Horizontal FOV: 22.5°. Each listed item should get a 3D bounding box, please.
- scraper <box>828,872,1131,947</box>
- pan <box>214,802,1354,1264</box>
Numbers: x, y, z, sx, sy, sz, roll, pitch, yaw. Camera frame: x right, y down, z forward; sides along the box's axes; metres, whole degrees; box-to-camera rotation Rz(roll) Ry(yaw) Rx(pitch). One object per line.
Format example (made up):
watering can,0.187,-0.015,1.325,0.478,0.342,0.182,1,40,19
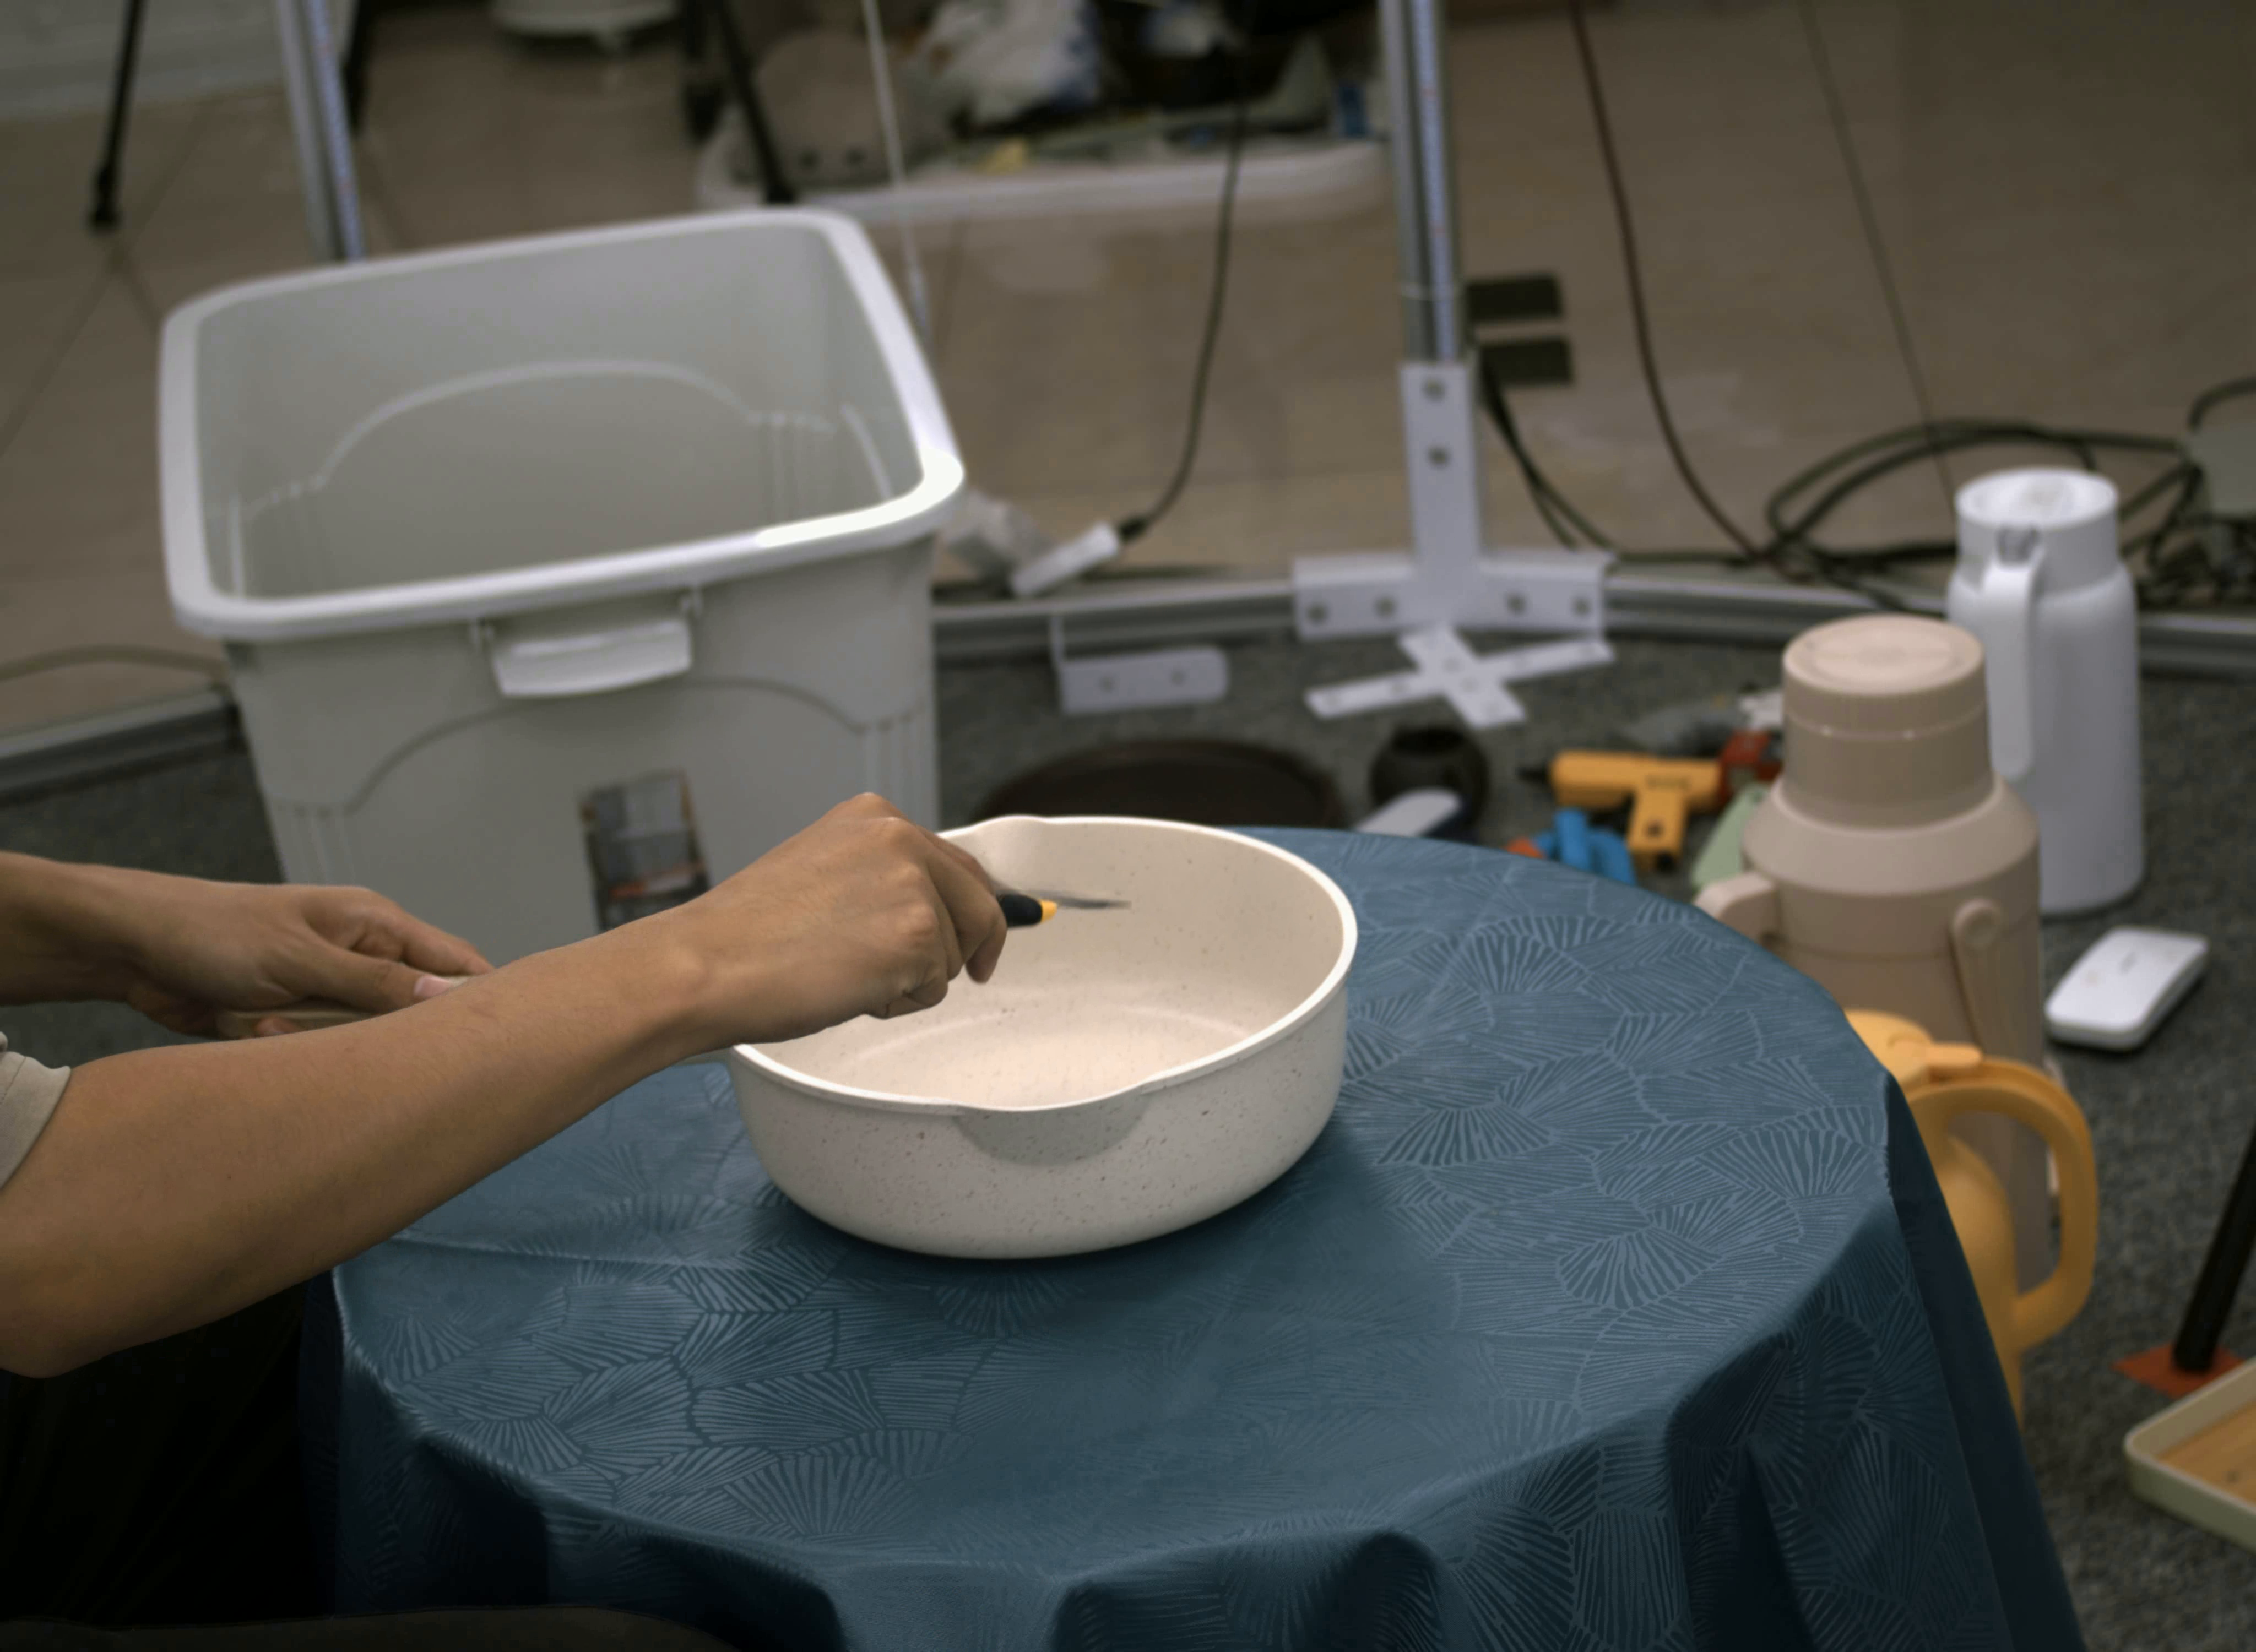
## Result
scraper,-0.054,0.029,2.018,0.038,0.015,0.170,15,10,28
pan,-0.127,0.088,2.177,0.434,0.104,0.259,-7,27,-2
